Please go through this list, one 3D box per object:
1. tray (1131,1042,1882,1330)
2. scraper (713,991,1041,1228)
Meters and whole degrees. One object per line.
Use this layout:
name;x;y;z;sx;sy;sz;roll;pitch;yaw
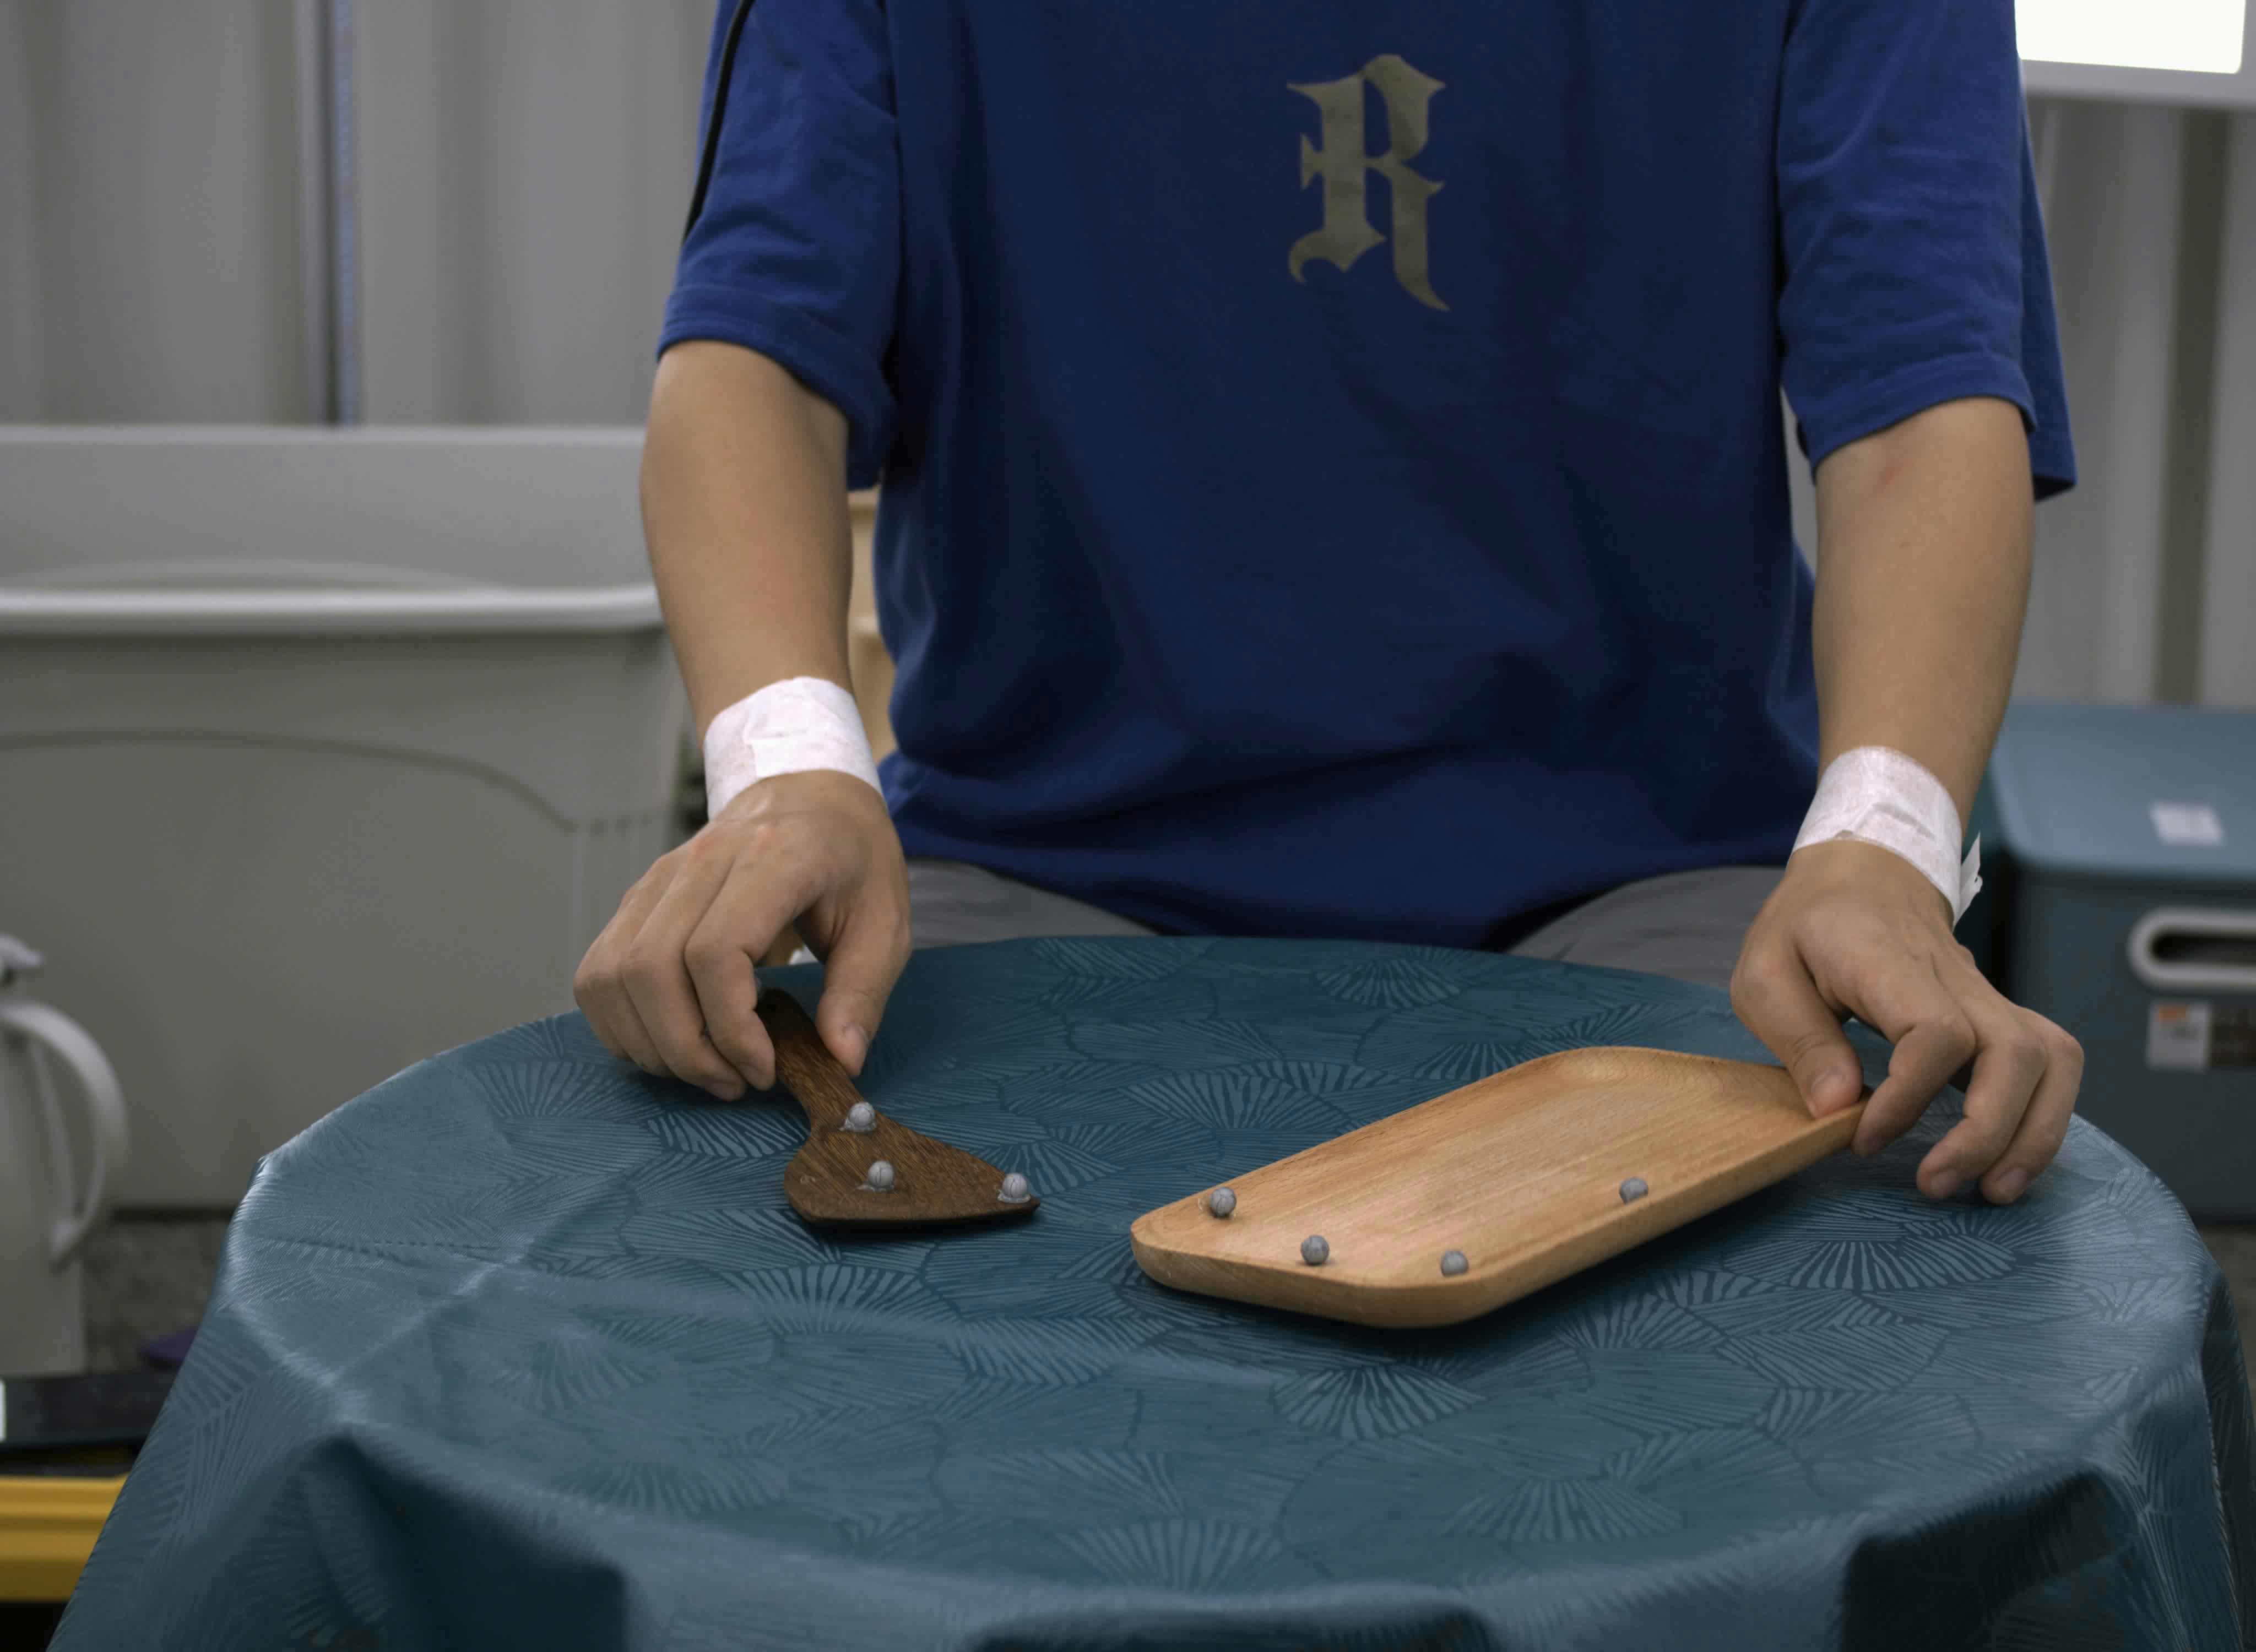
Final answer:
tray;0.118;0.107;1.600;0.129;0.023;0.252;12;18;39
scraper;-0.093;0.089;1.669;0.076;0.011;0.209;-1;18;-20
